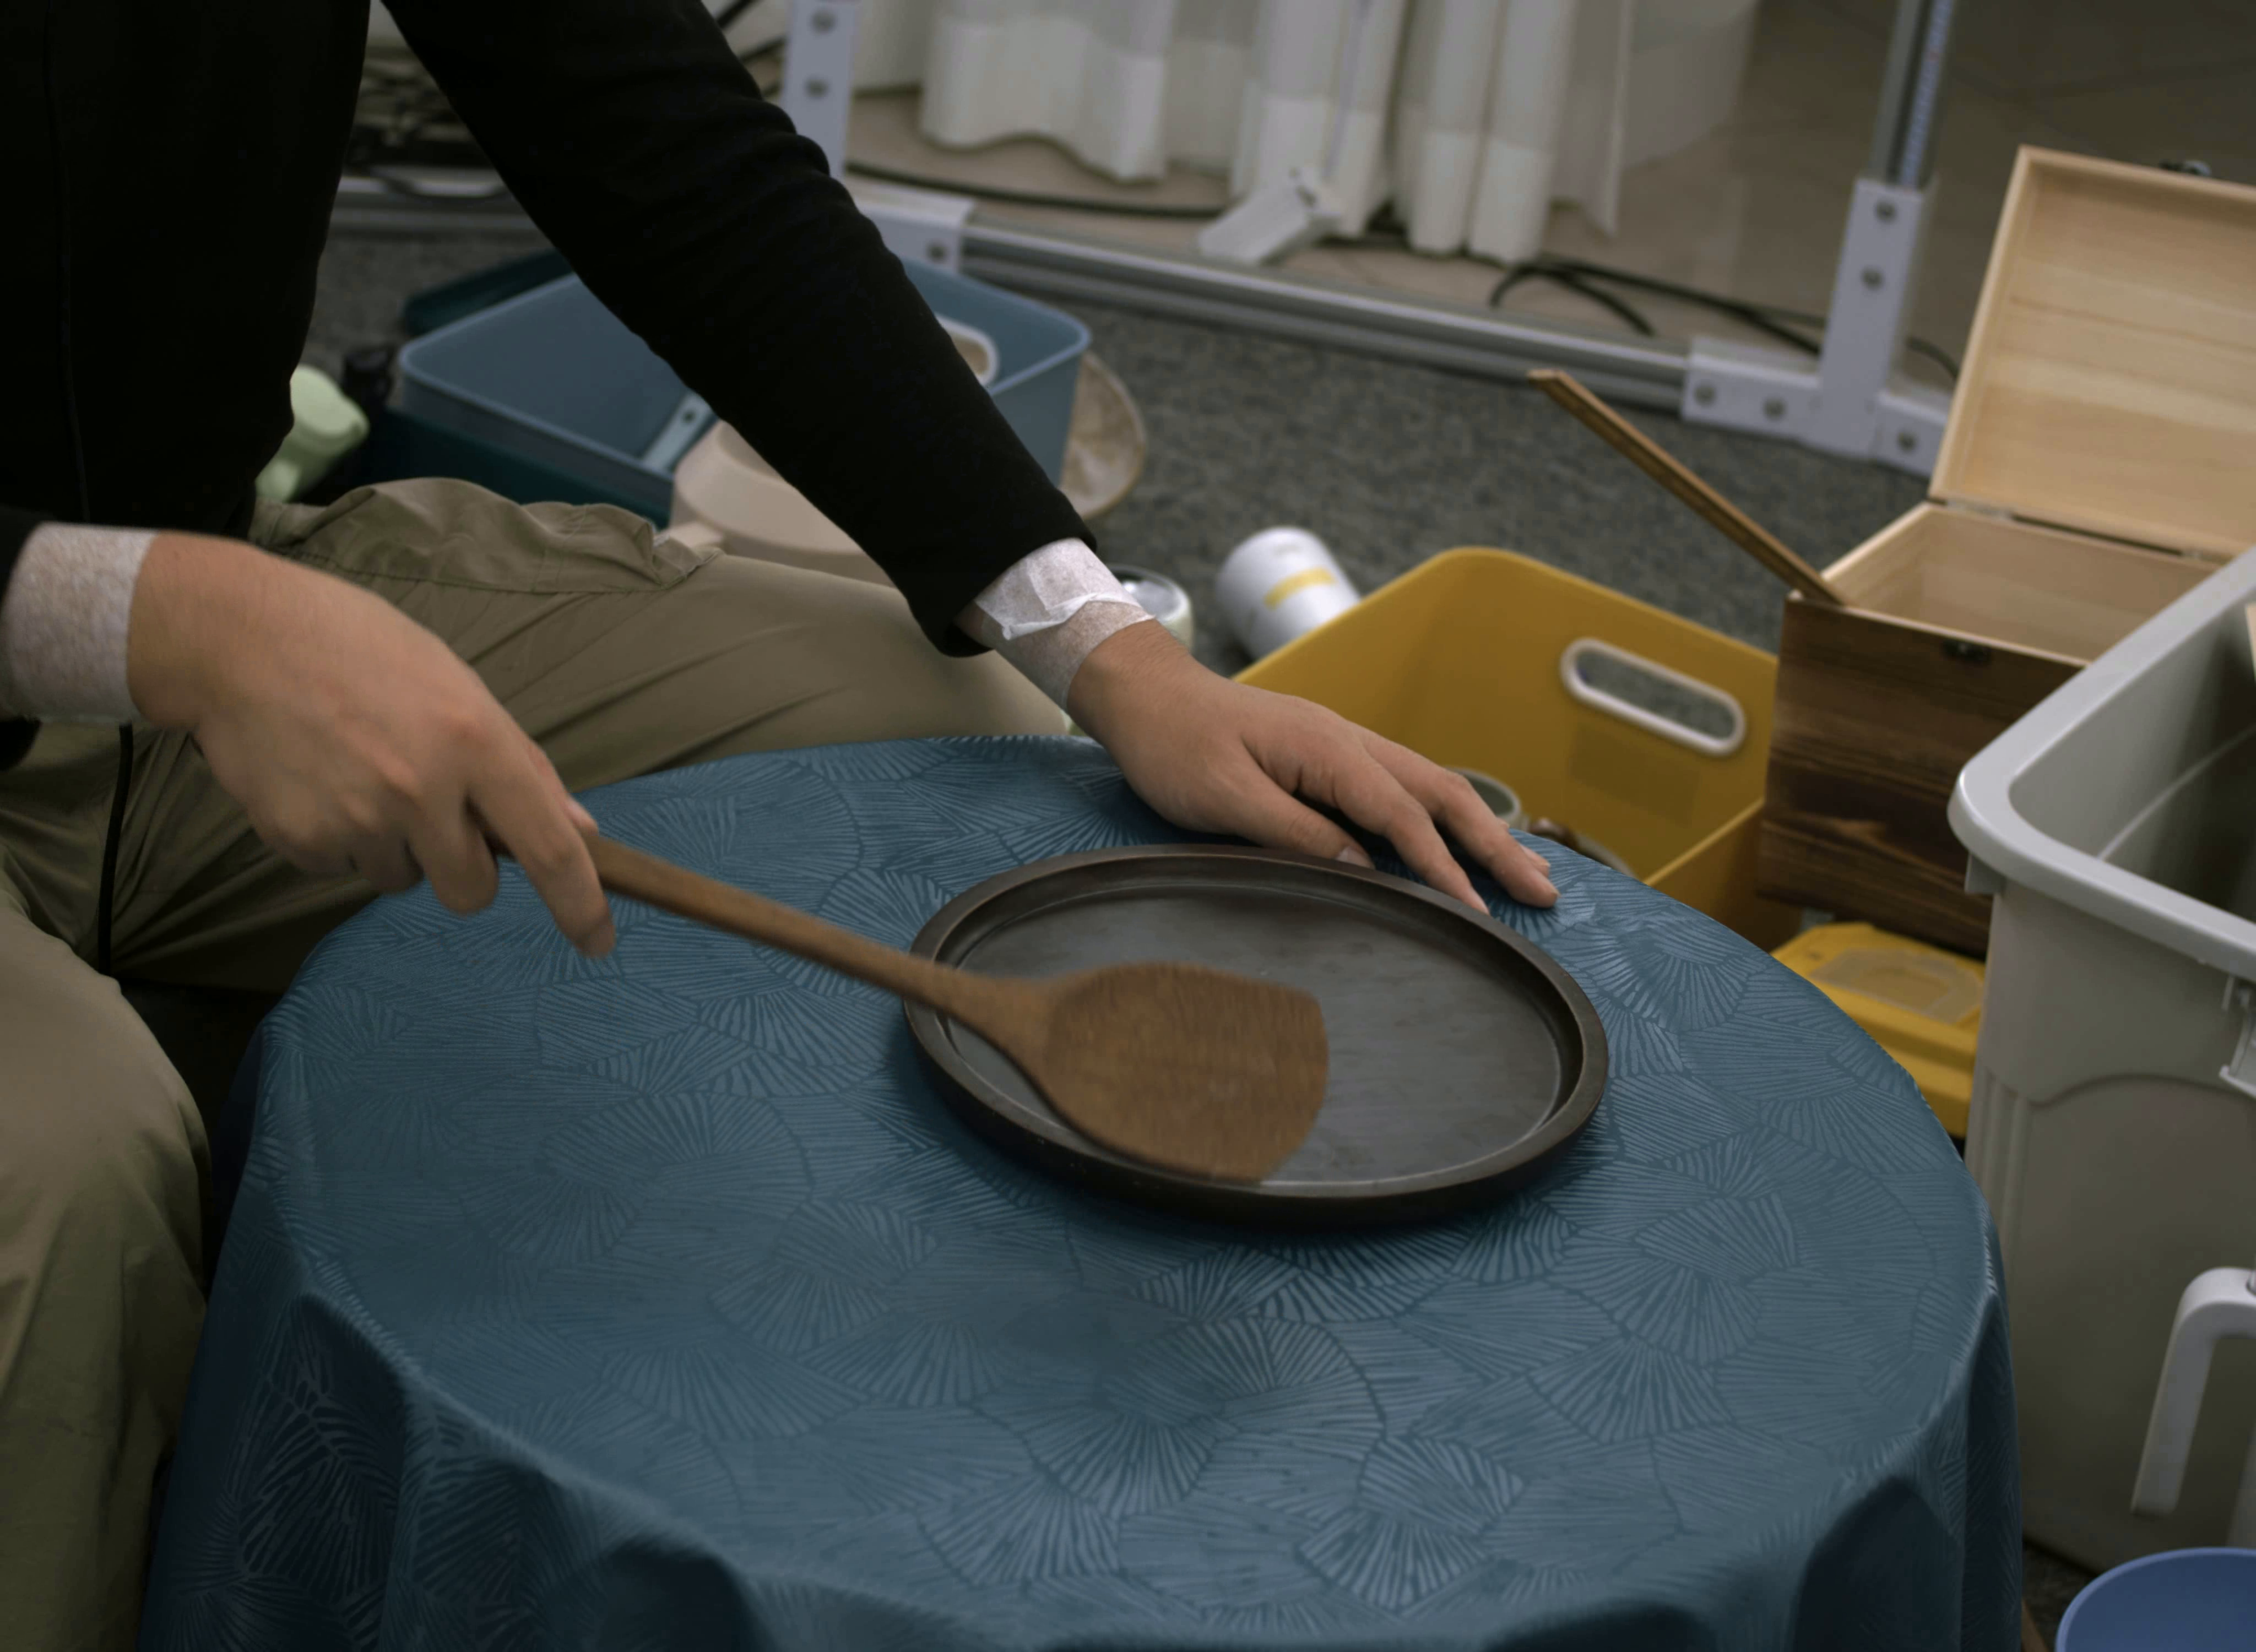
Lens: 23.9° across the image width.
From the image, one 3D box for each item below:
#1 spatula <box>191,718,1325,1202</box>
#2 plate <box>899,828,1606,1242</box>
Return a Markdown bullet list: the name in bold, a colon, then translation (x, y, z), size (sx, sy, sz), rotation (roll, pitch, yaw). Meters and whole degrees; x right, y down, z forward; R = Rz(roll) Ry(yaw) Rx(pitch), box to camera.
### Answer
- **spatula**: translation (-0.121, 0.034, 1.713), size (0.385, 0.016, 0.096), rotation (19, 43, 4)
- **plate**: translation (0.043, 0.074, 1.884), size (0.254, 0.029, 0.256), rotation (5, 28, -3)
